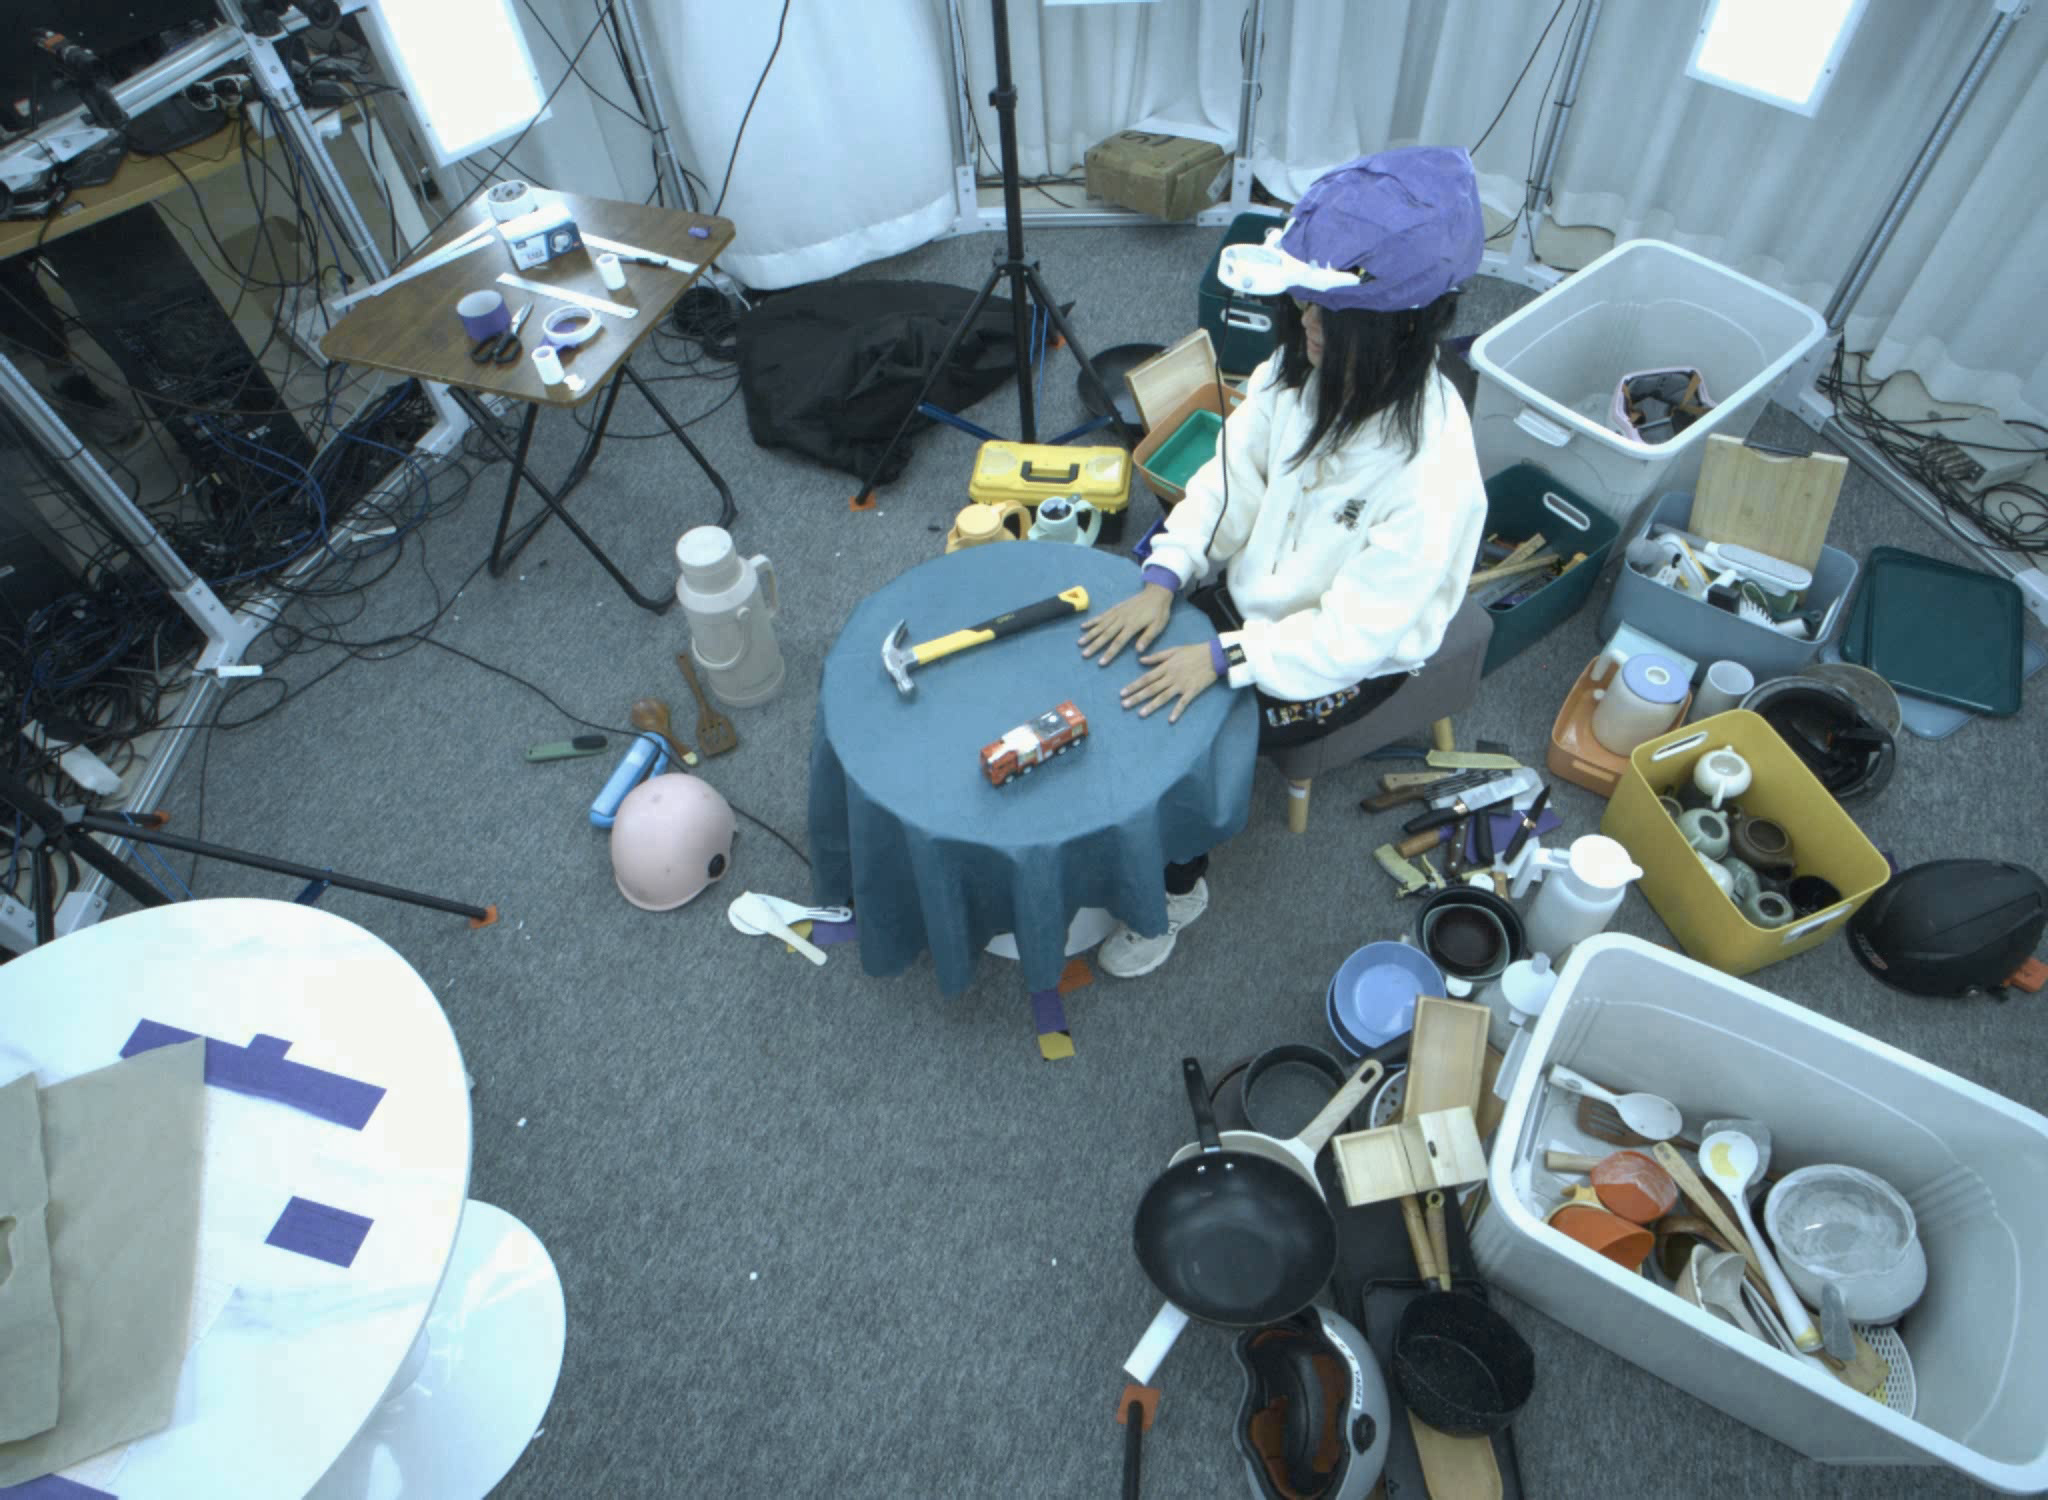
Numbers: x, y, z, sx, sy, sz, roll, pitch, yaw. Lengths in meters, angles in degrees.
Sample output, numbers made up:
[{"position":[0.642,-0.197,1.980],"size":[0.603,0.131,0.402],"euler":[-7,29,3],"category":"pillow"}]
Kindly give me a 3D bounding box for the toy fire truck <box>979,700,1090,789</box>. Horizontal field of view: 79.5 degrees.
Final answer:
[{"position":[0.013,-0.009,1.758],"size":[0.169,0.071,0.053],"euler":[-29,58,-18],"category":"toy fire truck"}]

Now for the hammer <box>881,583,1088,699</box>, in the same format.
[{"position":[-0.058,-0.188,1.899],"size":[0.340,0.032,0.129],"euler":[-21,56,-11],"category":"hammer"}]
